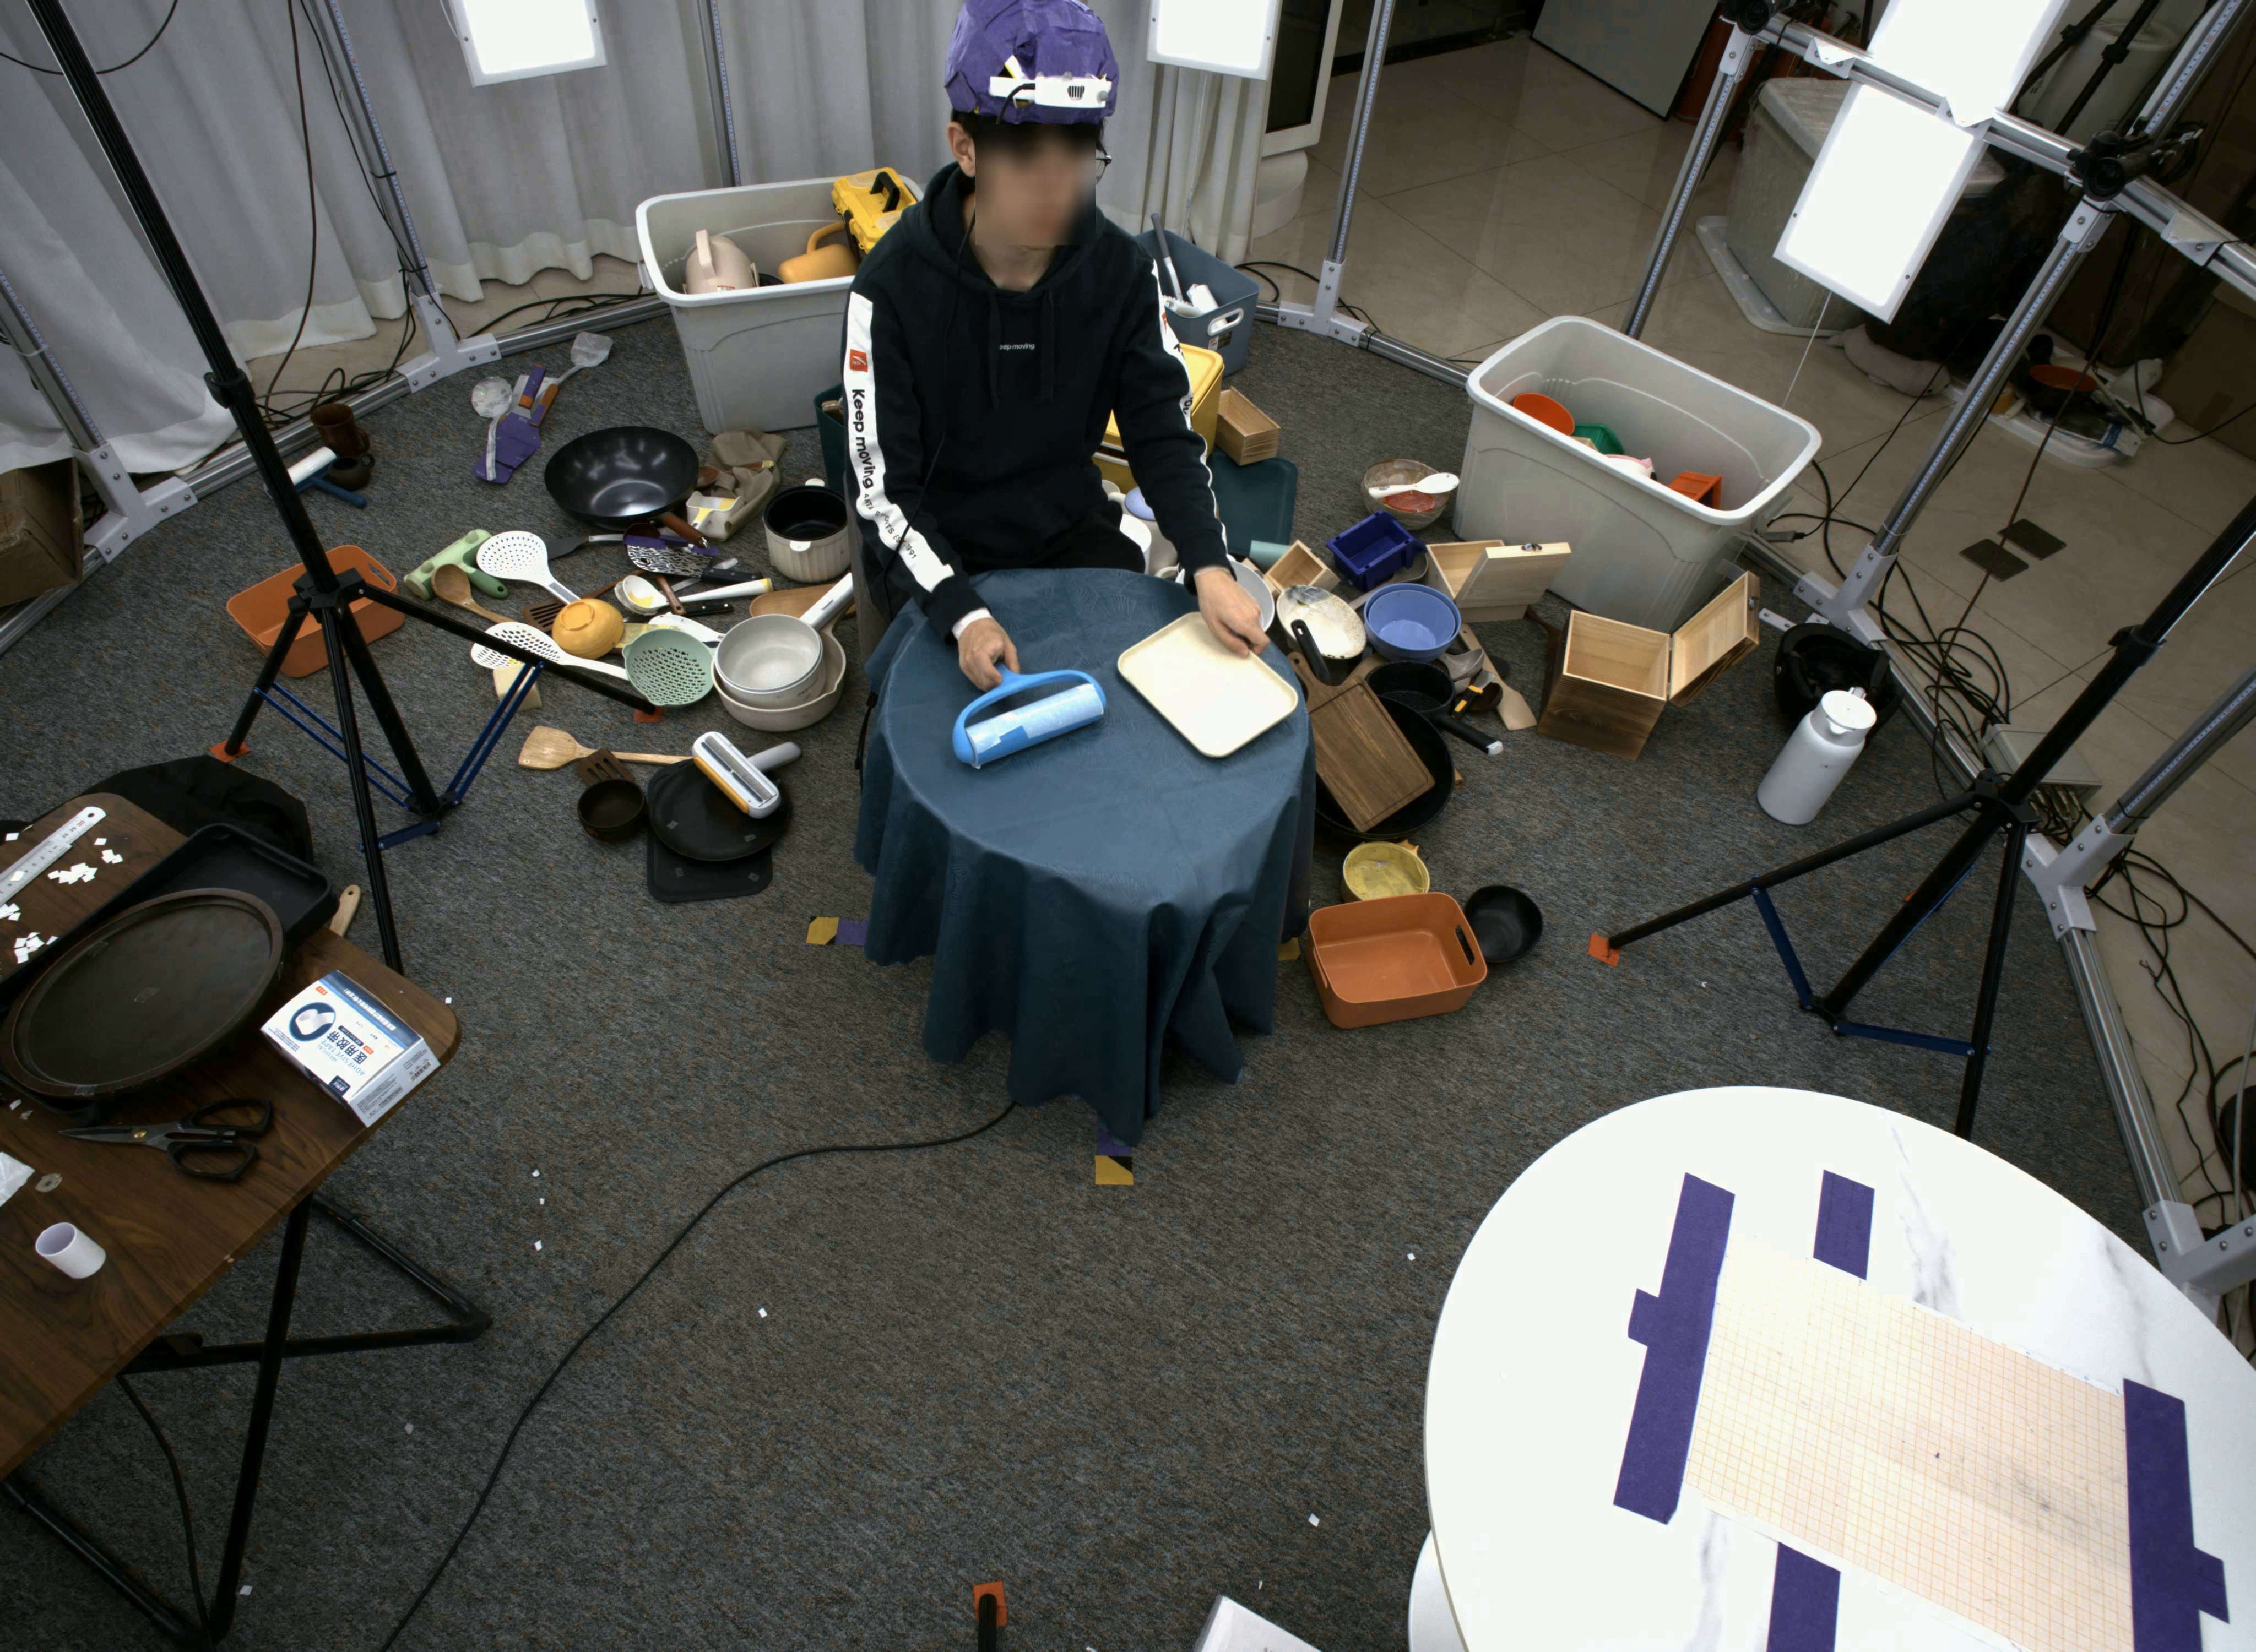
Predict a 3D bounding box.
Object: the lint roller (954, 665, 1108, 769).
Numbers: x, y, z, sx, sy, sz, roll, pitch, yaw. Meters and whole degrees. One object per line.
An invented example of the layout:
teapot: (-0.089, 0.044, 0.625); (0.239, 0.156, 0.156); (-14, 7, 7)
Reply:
lint roller: (-0.161, -0.178, 1.775); (0.230, 0.066, 0.184); (-26, 57, -22)

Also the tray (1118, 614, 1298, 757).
tray: (0.112, -0.201, 1.826); (0.172, 0.017, 0.244); (-32, 58, -19)
